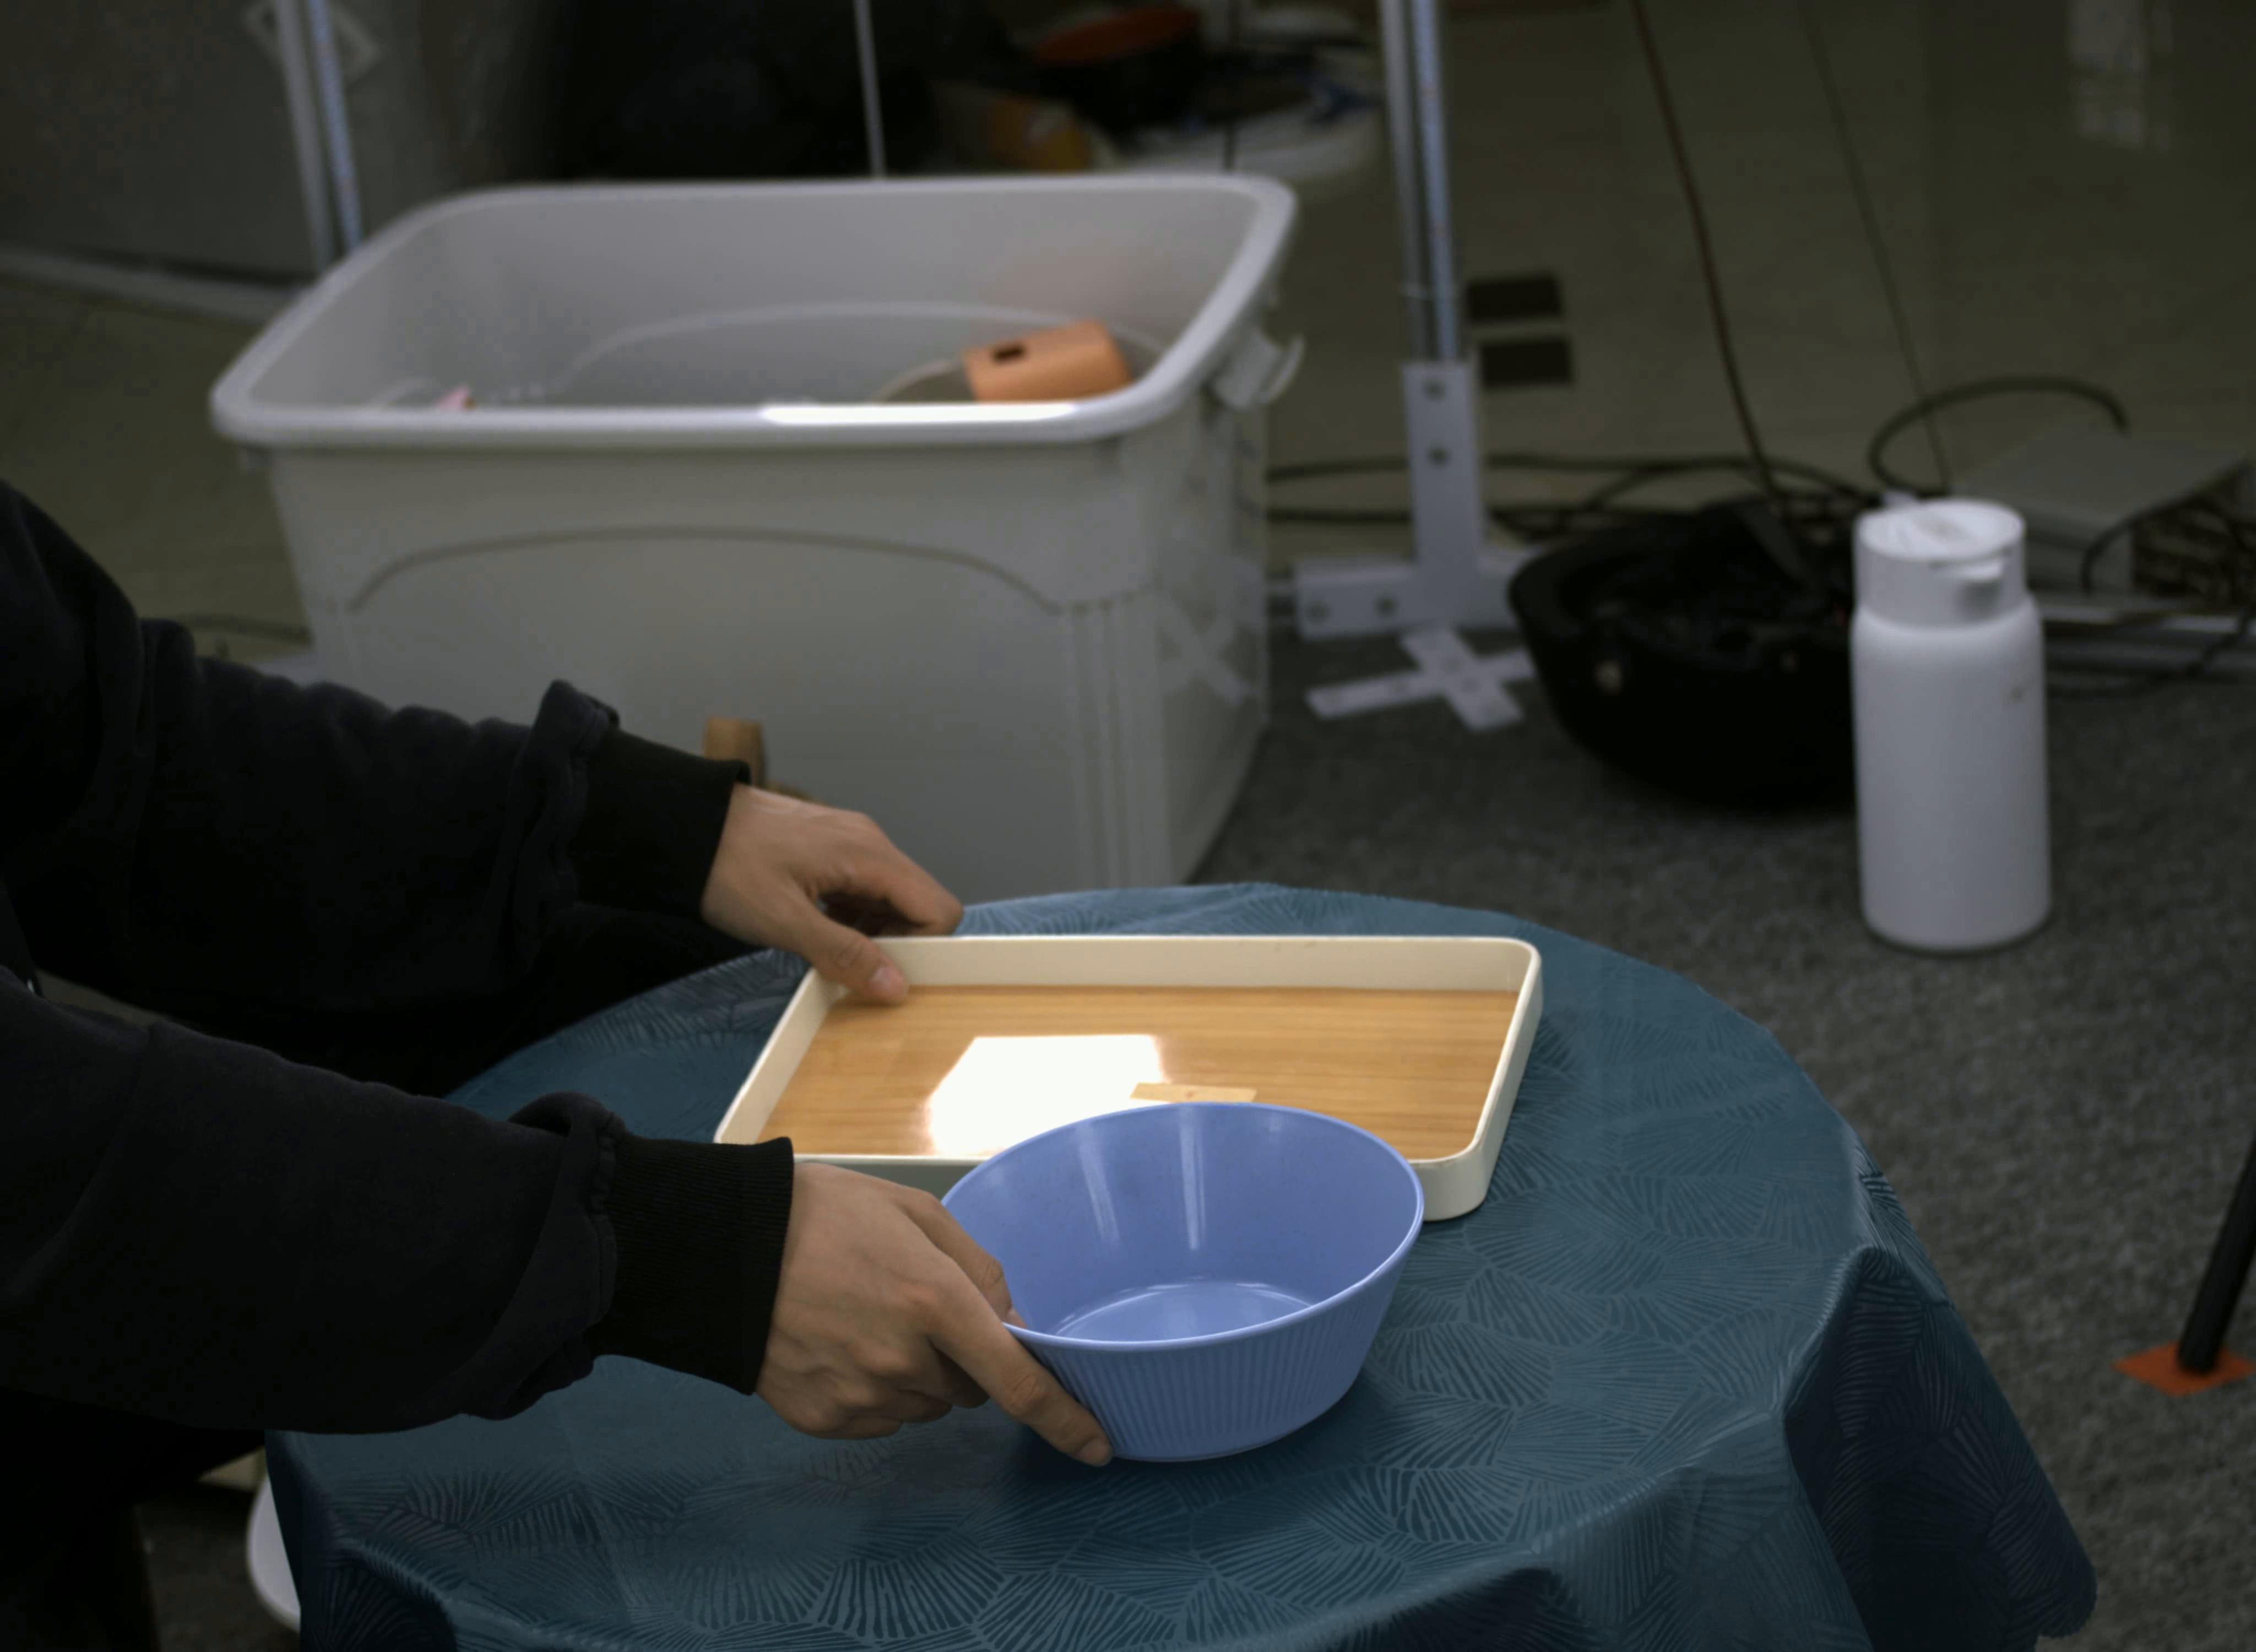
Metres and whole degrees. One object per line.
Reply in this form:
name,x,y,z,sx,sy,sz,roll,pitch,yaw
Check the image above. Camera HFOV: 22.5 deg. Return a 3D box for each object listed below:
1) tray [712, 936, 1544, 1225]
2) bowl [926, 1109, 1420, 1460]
tray,0.003,0.097,2.211,0.299,0.028,0.189,0,26,13
bowl,0.018,0.168,2.002,0.176,0.071,0.173,-5,24,2
